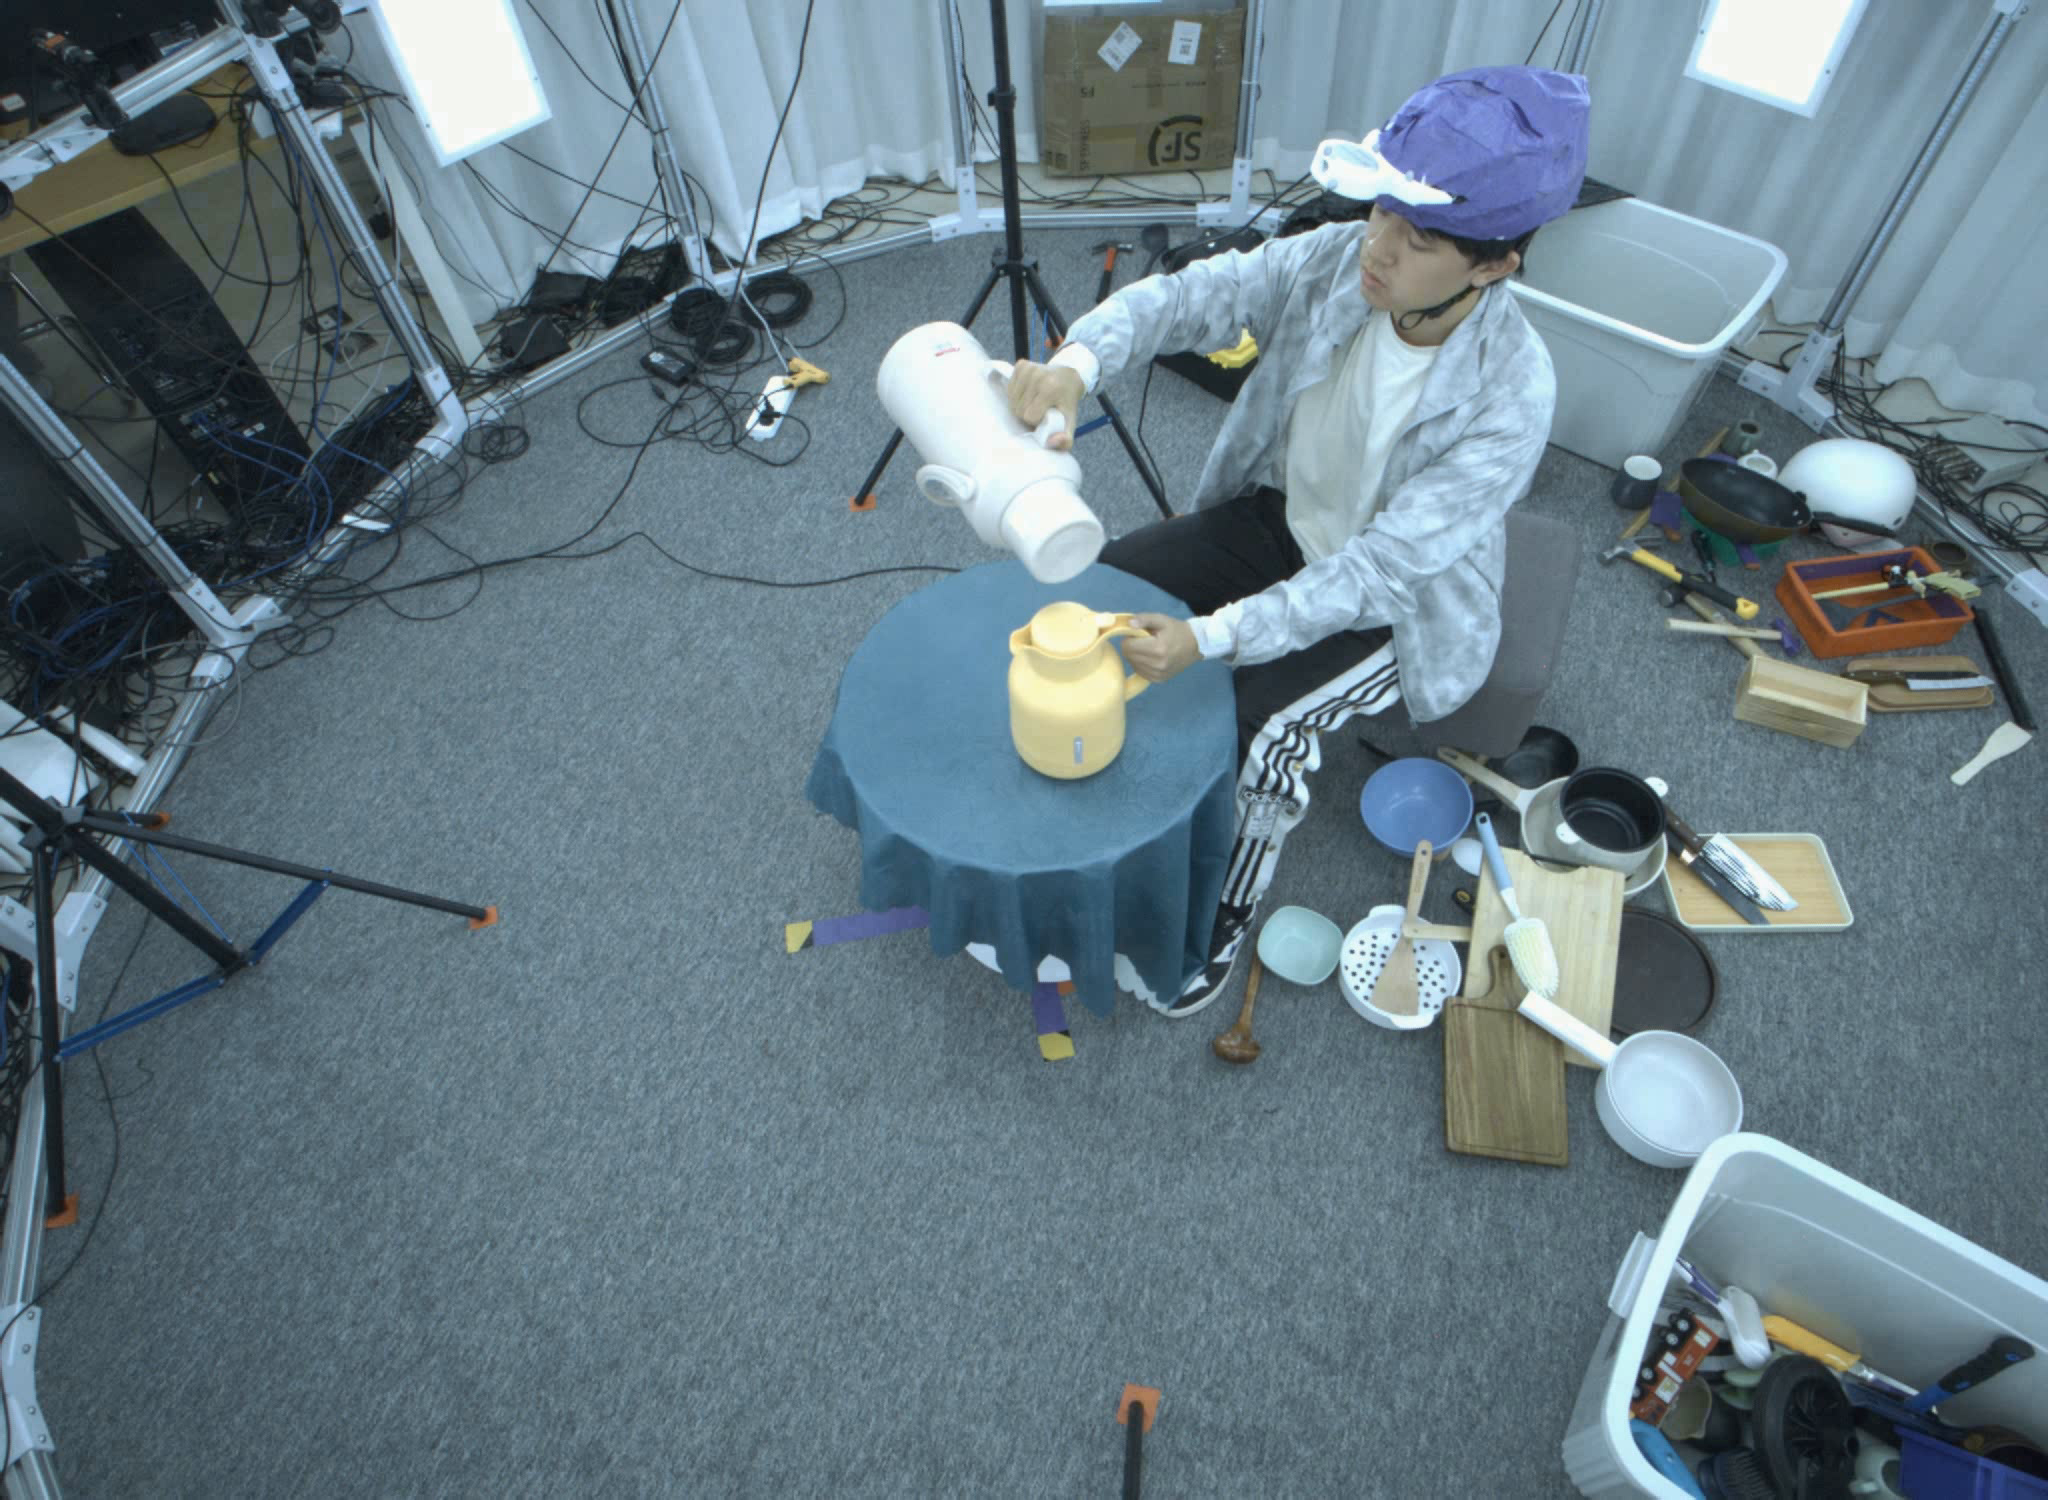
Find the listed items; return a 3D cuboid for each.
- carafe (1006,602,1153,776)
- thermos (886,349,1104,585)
[{"bbox_3d":[0.077,-0.092,1.691,0.203,0.263,0.161,-11,57,-3],"label":"carafe"},{"bbox_3d":[-0.034,-0.396,1.590,0.179,0.207,0.399,-8,52,-36],"label":"thermos"}]
